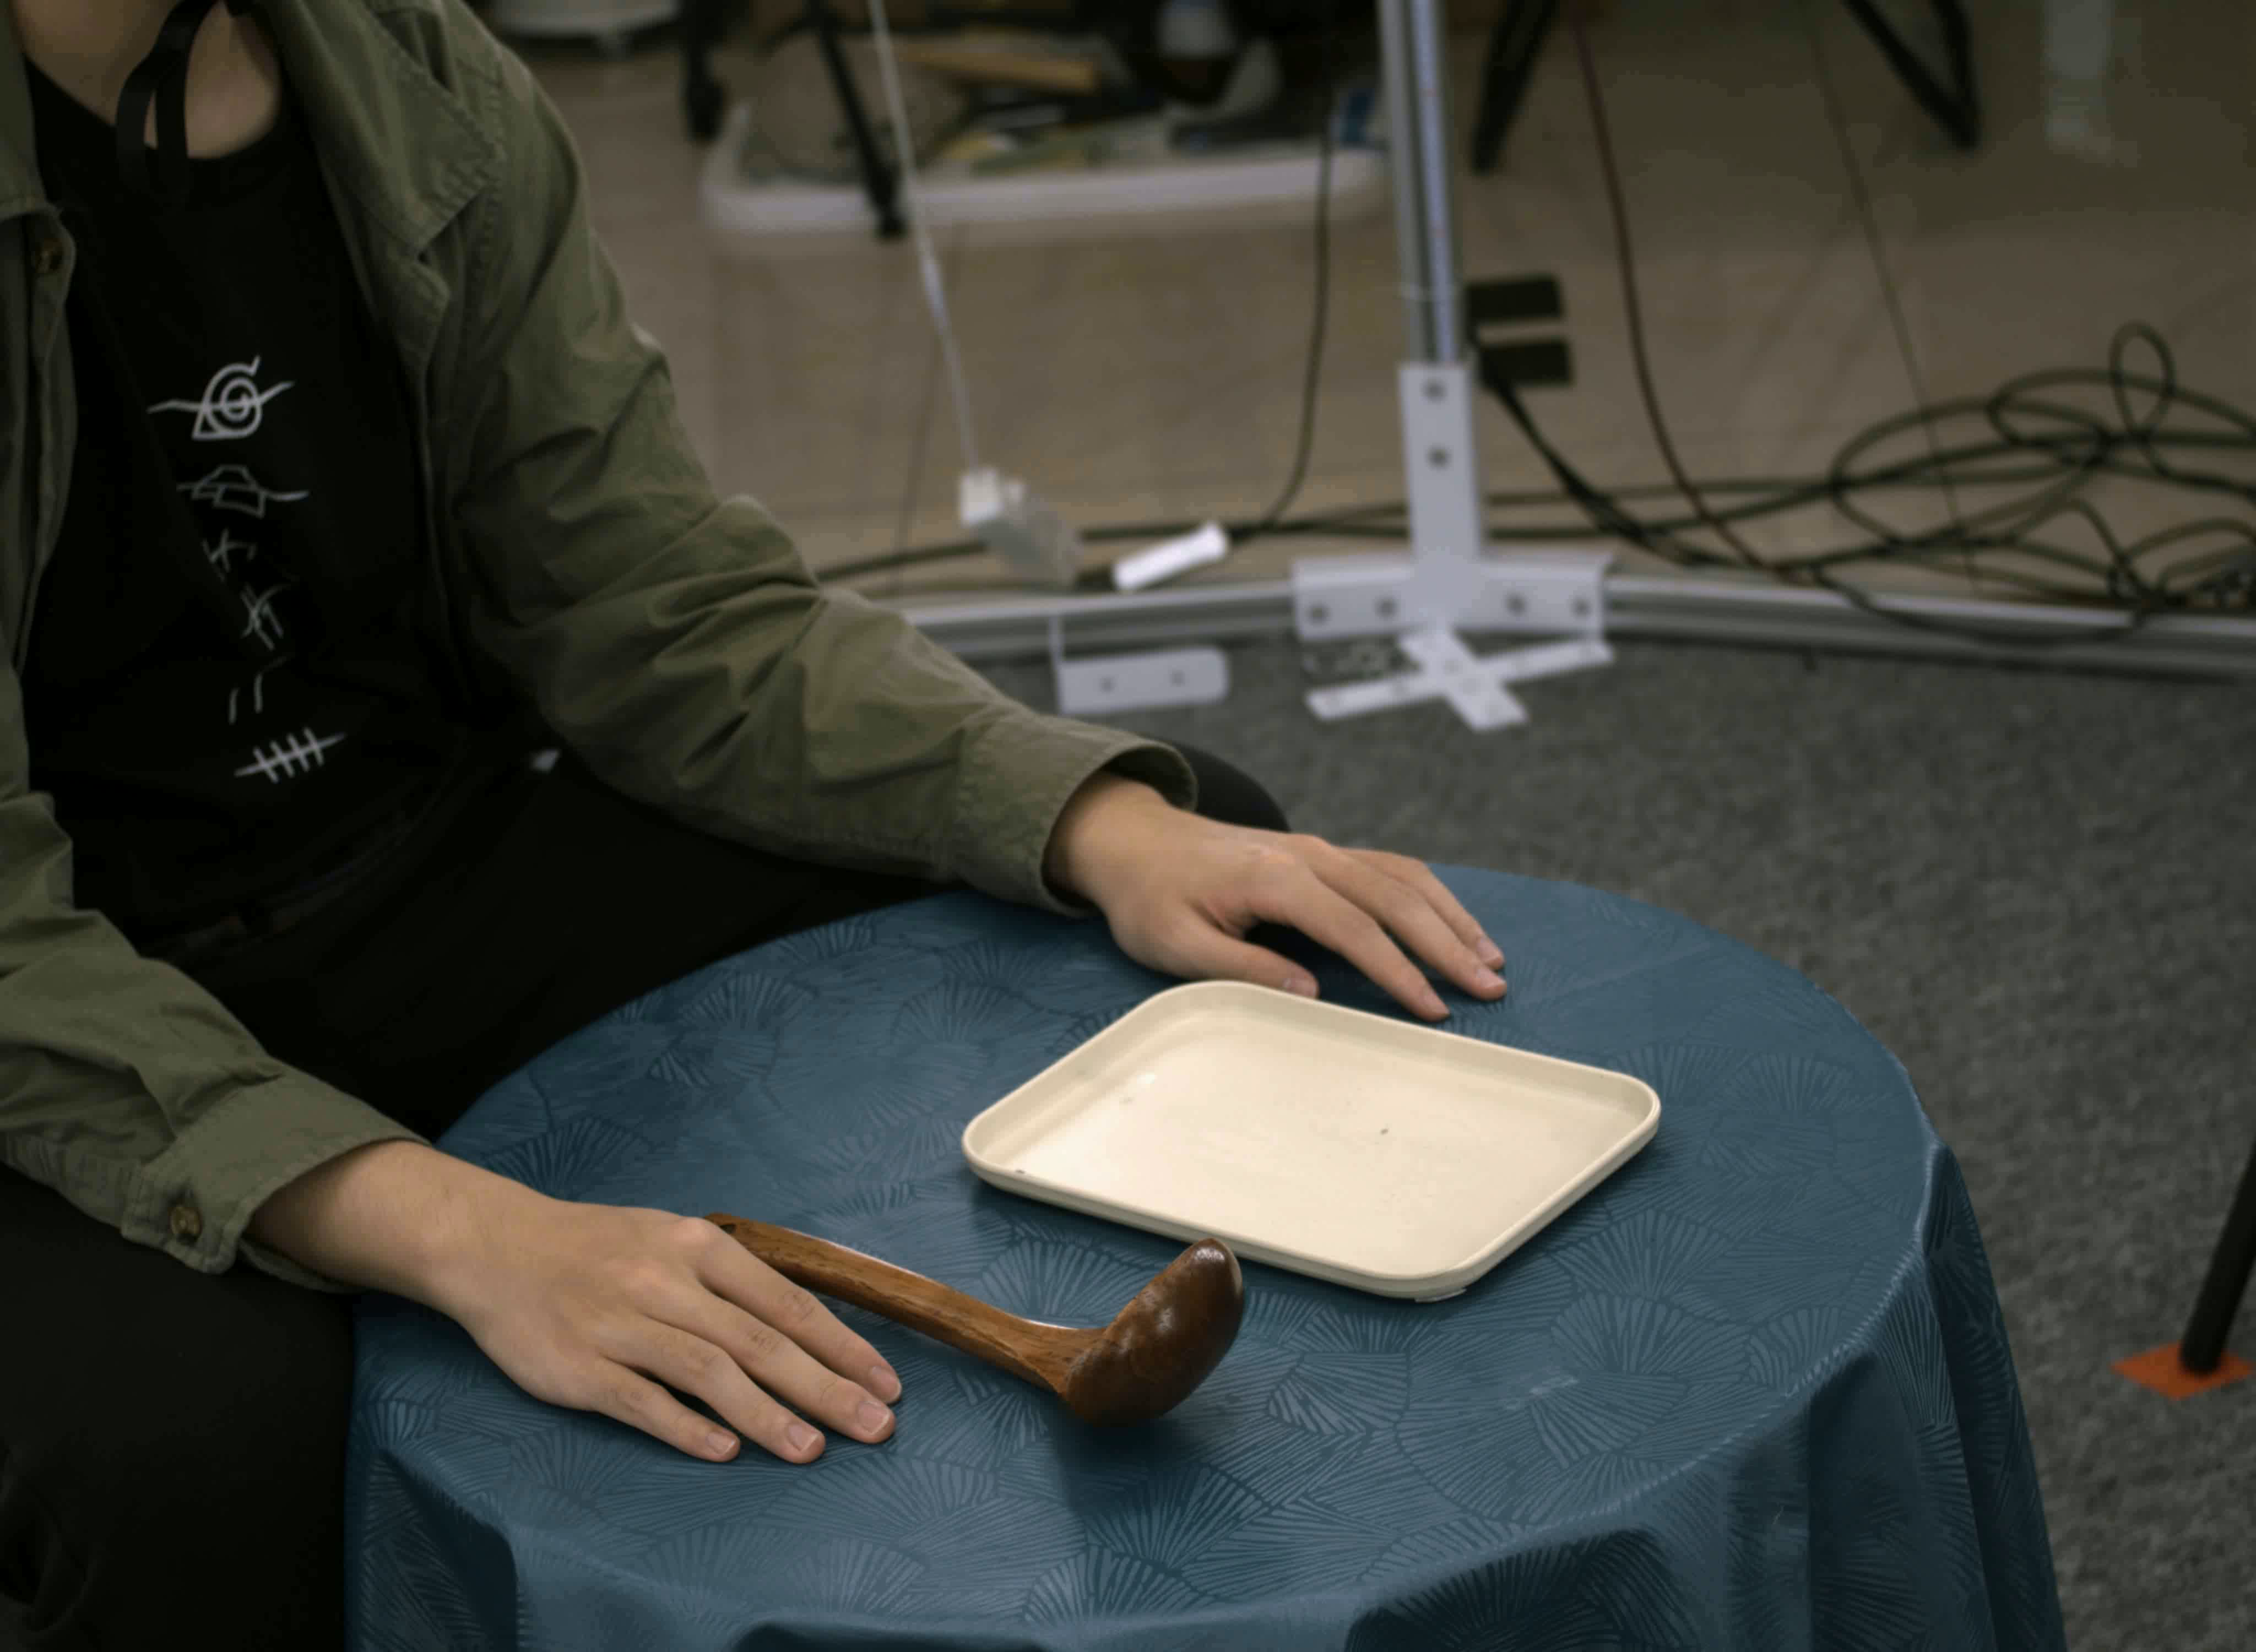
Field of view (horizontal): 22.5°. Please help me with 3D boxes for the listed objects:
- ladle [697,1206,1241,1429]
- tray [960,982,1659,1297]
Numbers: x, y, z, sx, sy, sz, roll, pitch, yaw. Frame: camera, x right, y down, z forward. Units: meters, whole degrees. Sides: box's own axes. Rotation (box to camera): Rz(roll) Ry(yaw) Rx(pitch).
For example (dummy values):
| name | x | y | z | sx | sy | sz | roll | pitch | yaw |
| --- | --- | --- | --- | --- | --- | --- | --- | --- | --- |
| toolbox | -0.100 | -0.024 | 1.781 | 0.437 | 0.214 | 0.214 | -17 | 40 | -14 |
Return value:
| name | x | y | z | sx | sy | sz | roll | pitch | yaw |
| --- | --- | --- | --- | --- | --- | --- | --- | --- | --- |
| ladle | -0.069 | 0.156 | 2.044 | 0.272 | 0.078 | 0.081 | 17 | 39 | 42 |
| tray | 0.068 | 0.118 | 2.157 | 0.238 | 0.018 | 0.169 | 13 | 31 | 36 |
